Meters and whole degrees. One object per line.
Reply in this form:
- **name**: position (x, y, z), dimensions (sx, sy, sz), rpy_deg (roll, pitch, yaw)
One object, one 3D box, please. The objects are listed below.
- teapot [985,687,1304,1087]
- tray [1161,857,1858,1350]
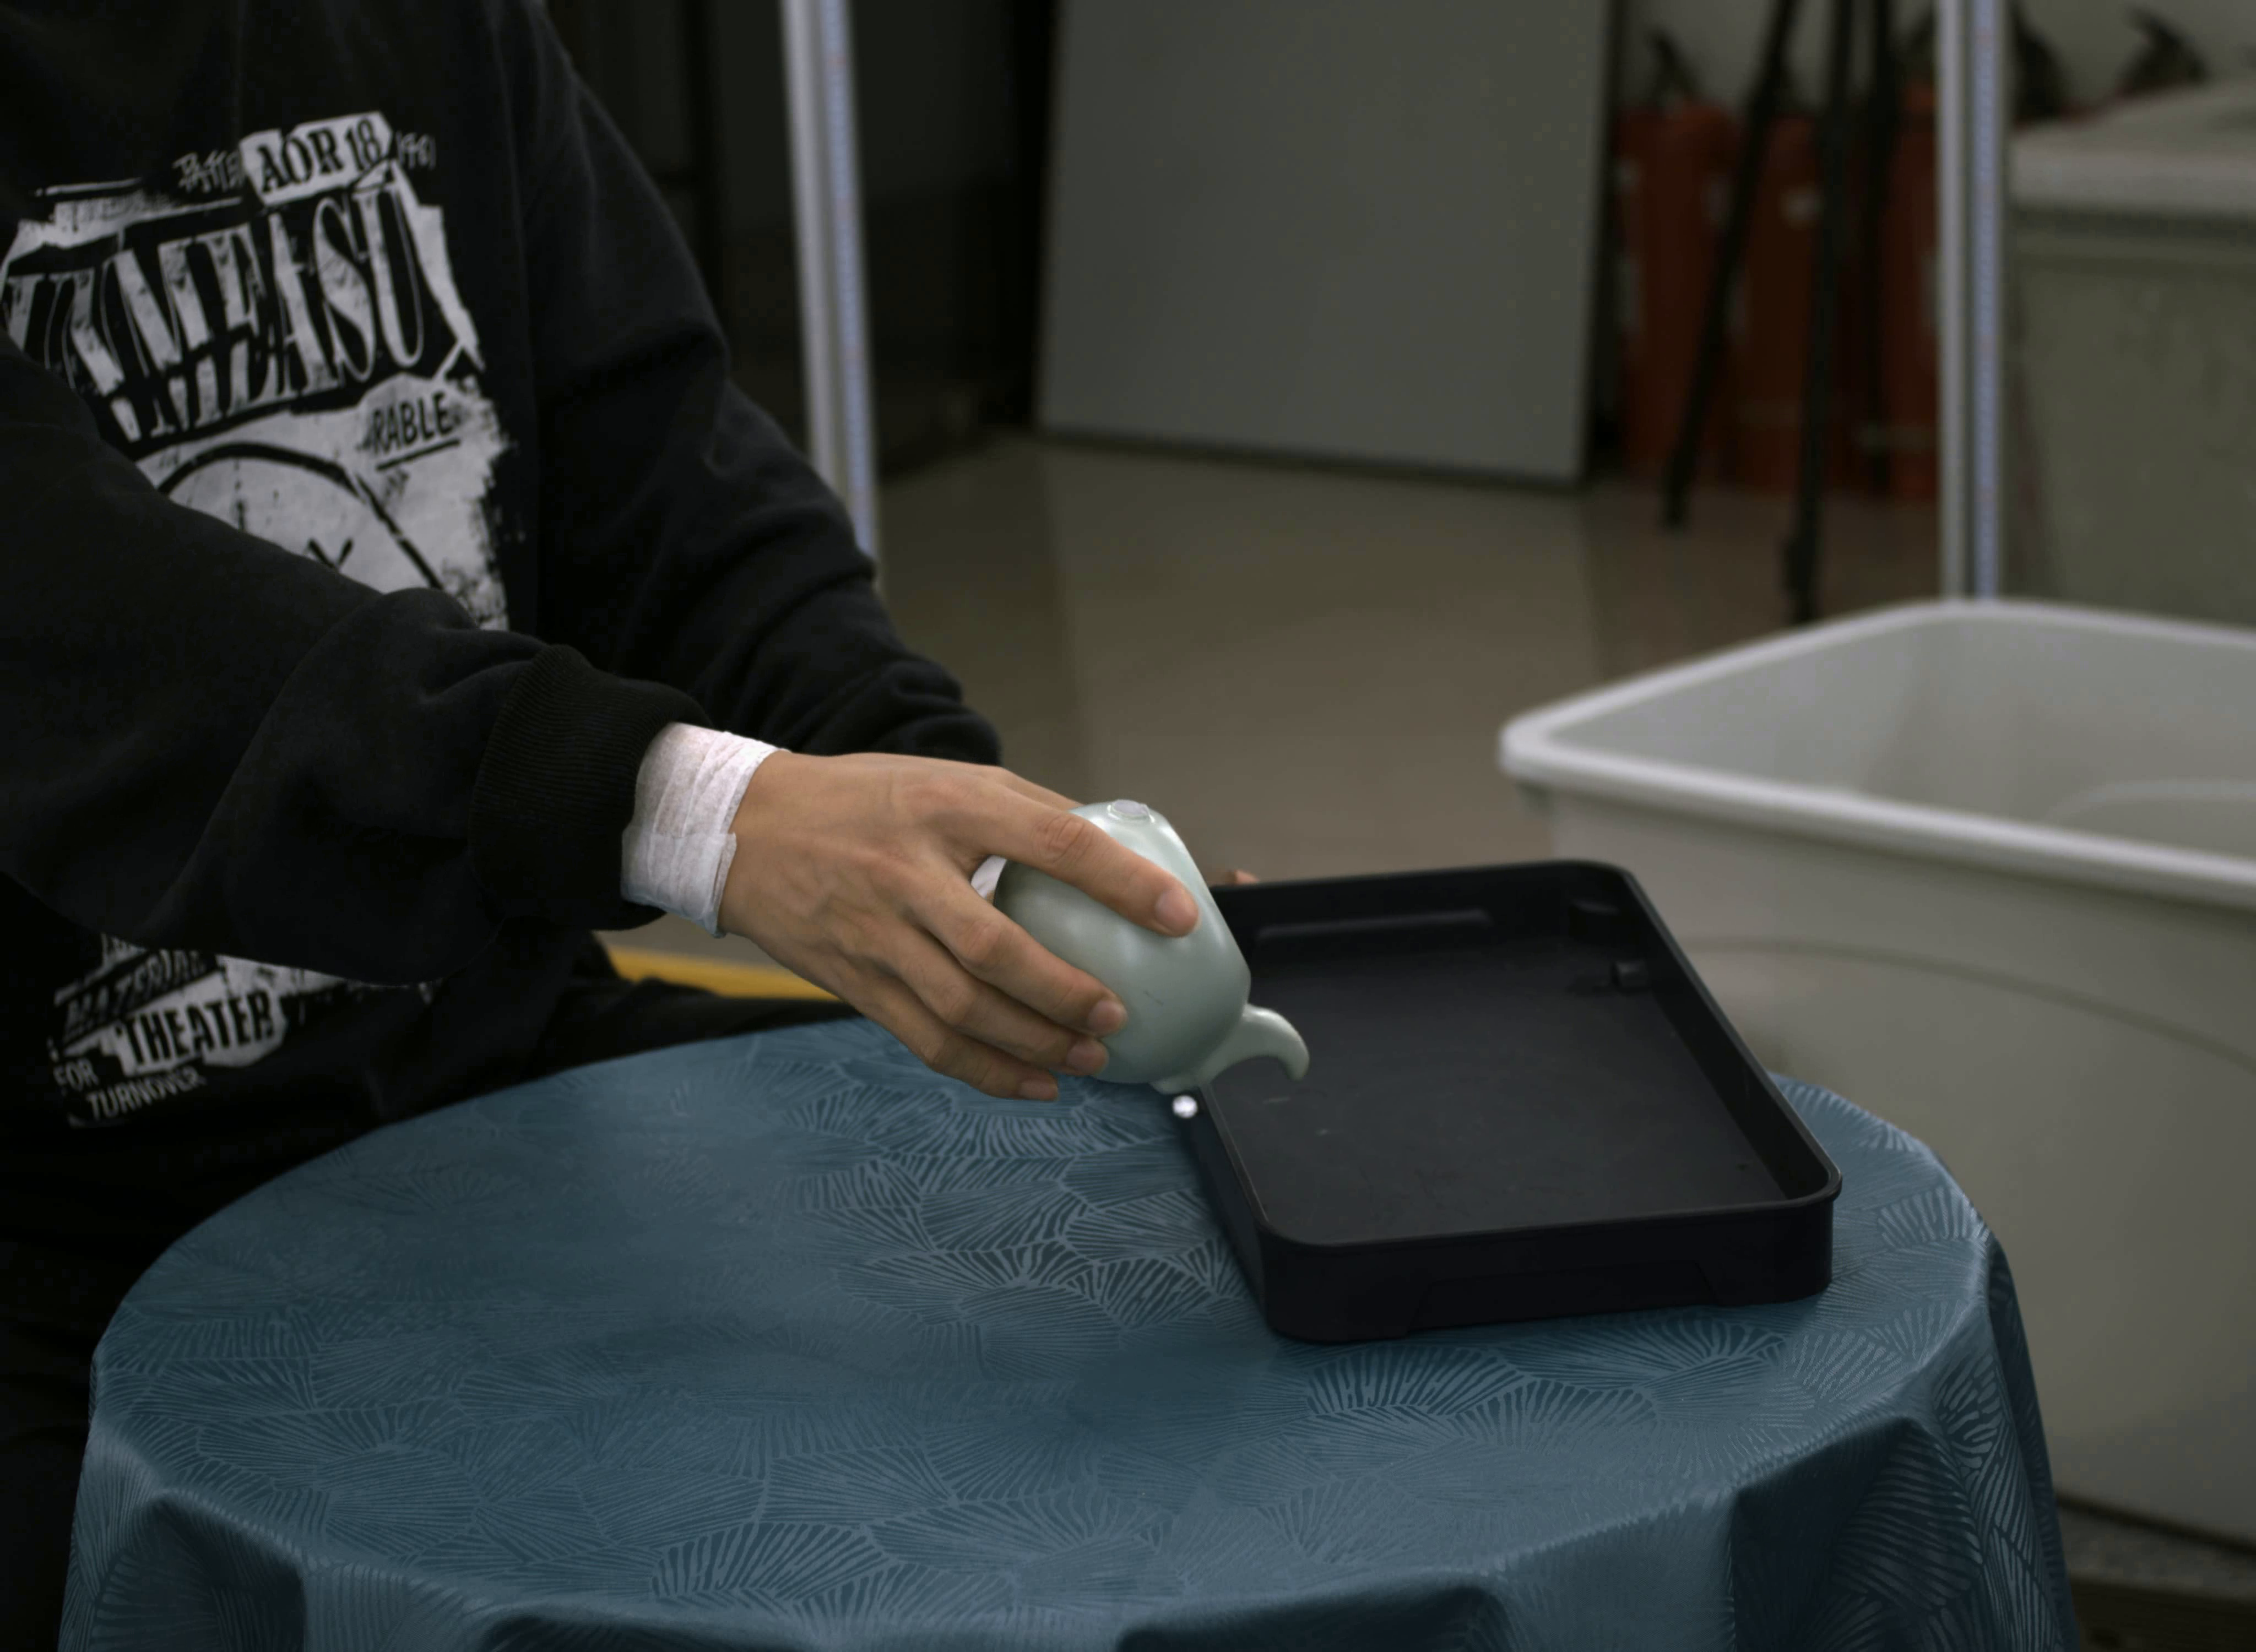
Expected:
- **teapot**: position (-0.003, 0.032, 1.653), dimensions (0.074, 0.144, 0.089), rpy_deg (-27, 21, -2)
- **tray**: position (0.109, 0.084, 1.753), dimensions (0.181, 0.037, 0.320), rpy_deg (-5, 19, -8)
